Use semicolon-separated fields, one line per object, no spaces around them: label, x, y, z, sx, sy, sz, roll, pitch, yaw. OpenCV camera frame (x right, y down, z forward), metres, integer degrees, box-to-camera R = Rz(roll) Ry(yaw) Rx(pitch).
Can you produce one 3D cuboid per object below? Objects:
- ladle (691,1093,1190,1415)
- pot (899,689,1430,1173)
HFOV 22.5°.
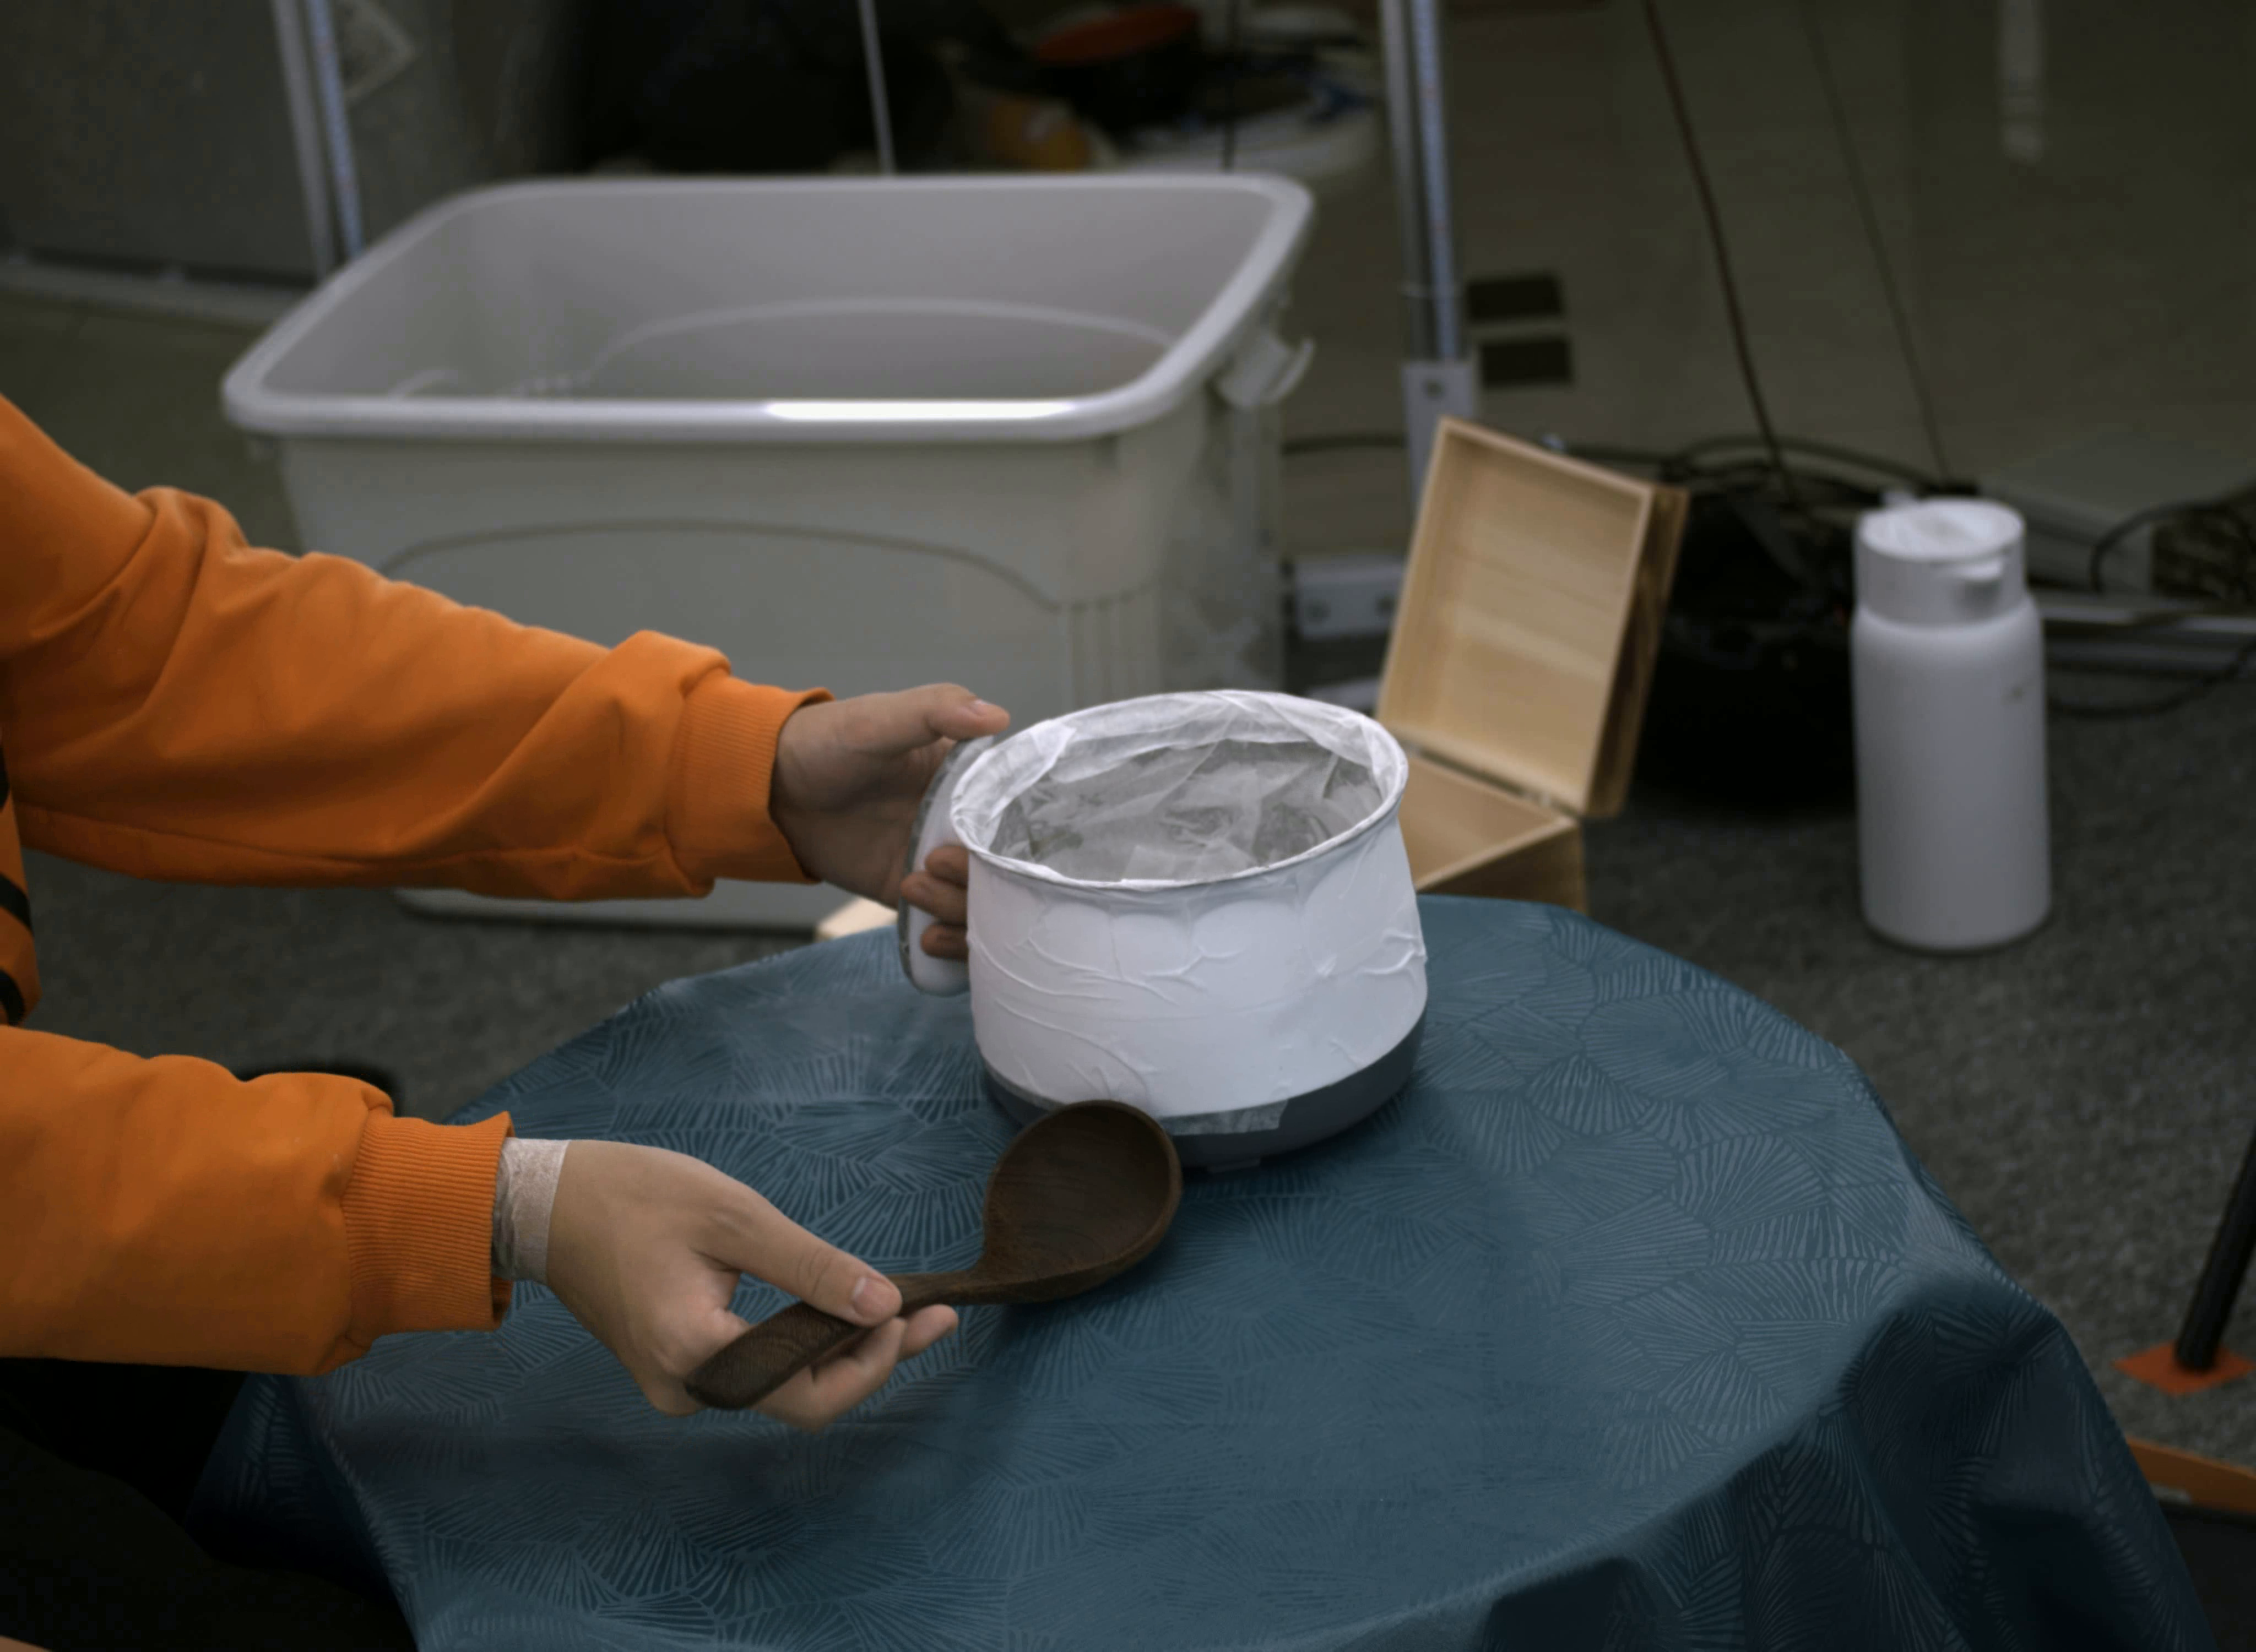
ladle;-0.067;0.147;2.002;0.075;0.072;0.273;14;13;27
pot;0.004;0.036;2.200;0.232;0.139;0.177;13;31;35
